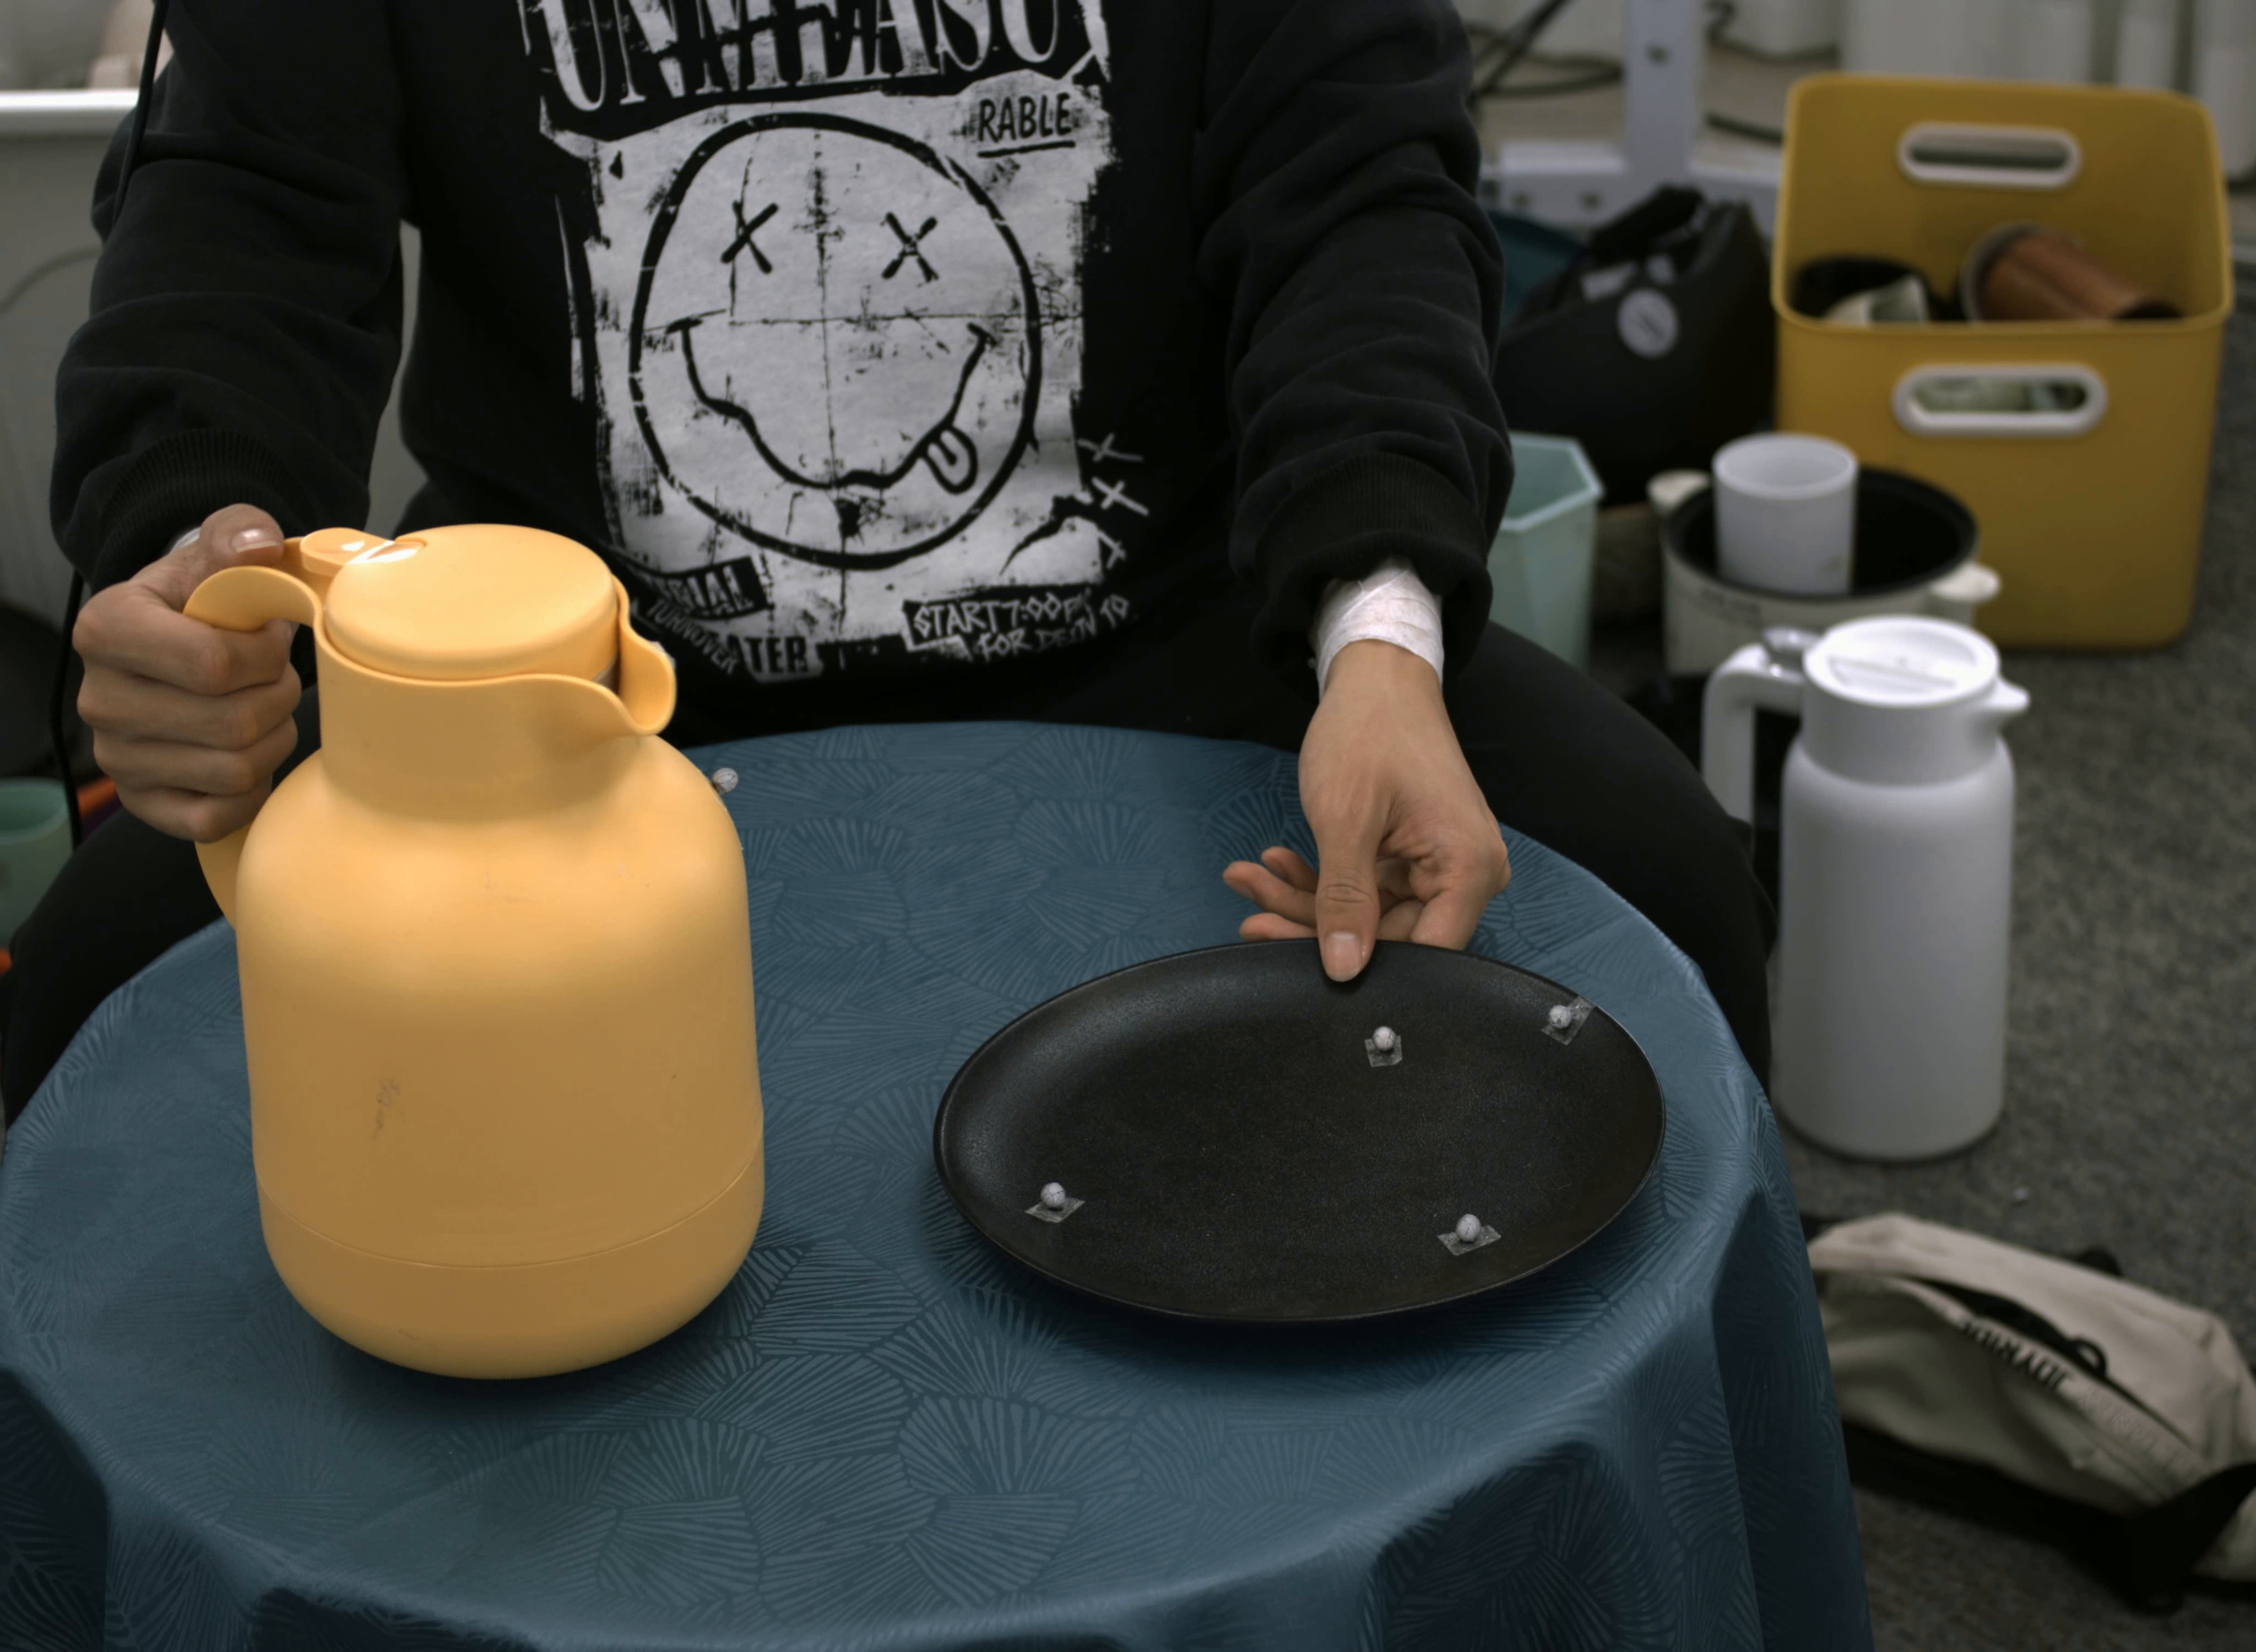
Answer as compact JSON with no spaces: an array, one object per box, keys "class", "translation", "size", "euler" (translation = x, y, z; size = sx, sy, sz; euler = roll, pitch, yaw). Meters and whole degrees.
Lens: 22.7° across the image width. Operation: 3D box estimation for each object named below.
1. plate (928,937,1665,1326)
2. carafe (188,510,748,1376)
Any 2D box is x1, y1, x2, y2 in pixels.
[{"class":"plate","translation":[0.056,0.106,1.858],"size":[0.243,0.023,0.248],"euler":[-2,28,1]},{"class":"carafe","translation":[-0.215,0.026,1.775],"size":[0.202,0.257,0.165],"euler":[22,32,33]}]
